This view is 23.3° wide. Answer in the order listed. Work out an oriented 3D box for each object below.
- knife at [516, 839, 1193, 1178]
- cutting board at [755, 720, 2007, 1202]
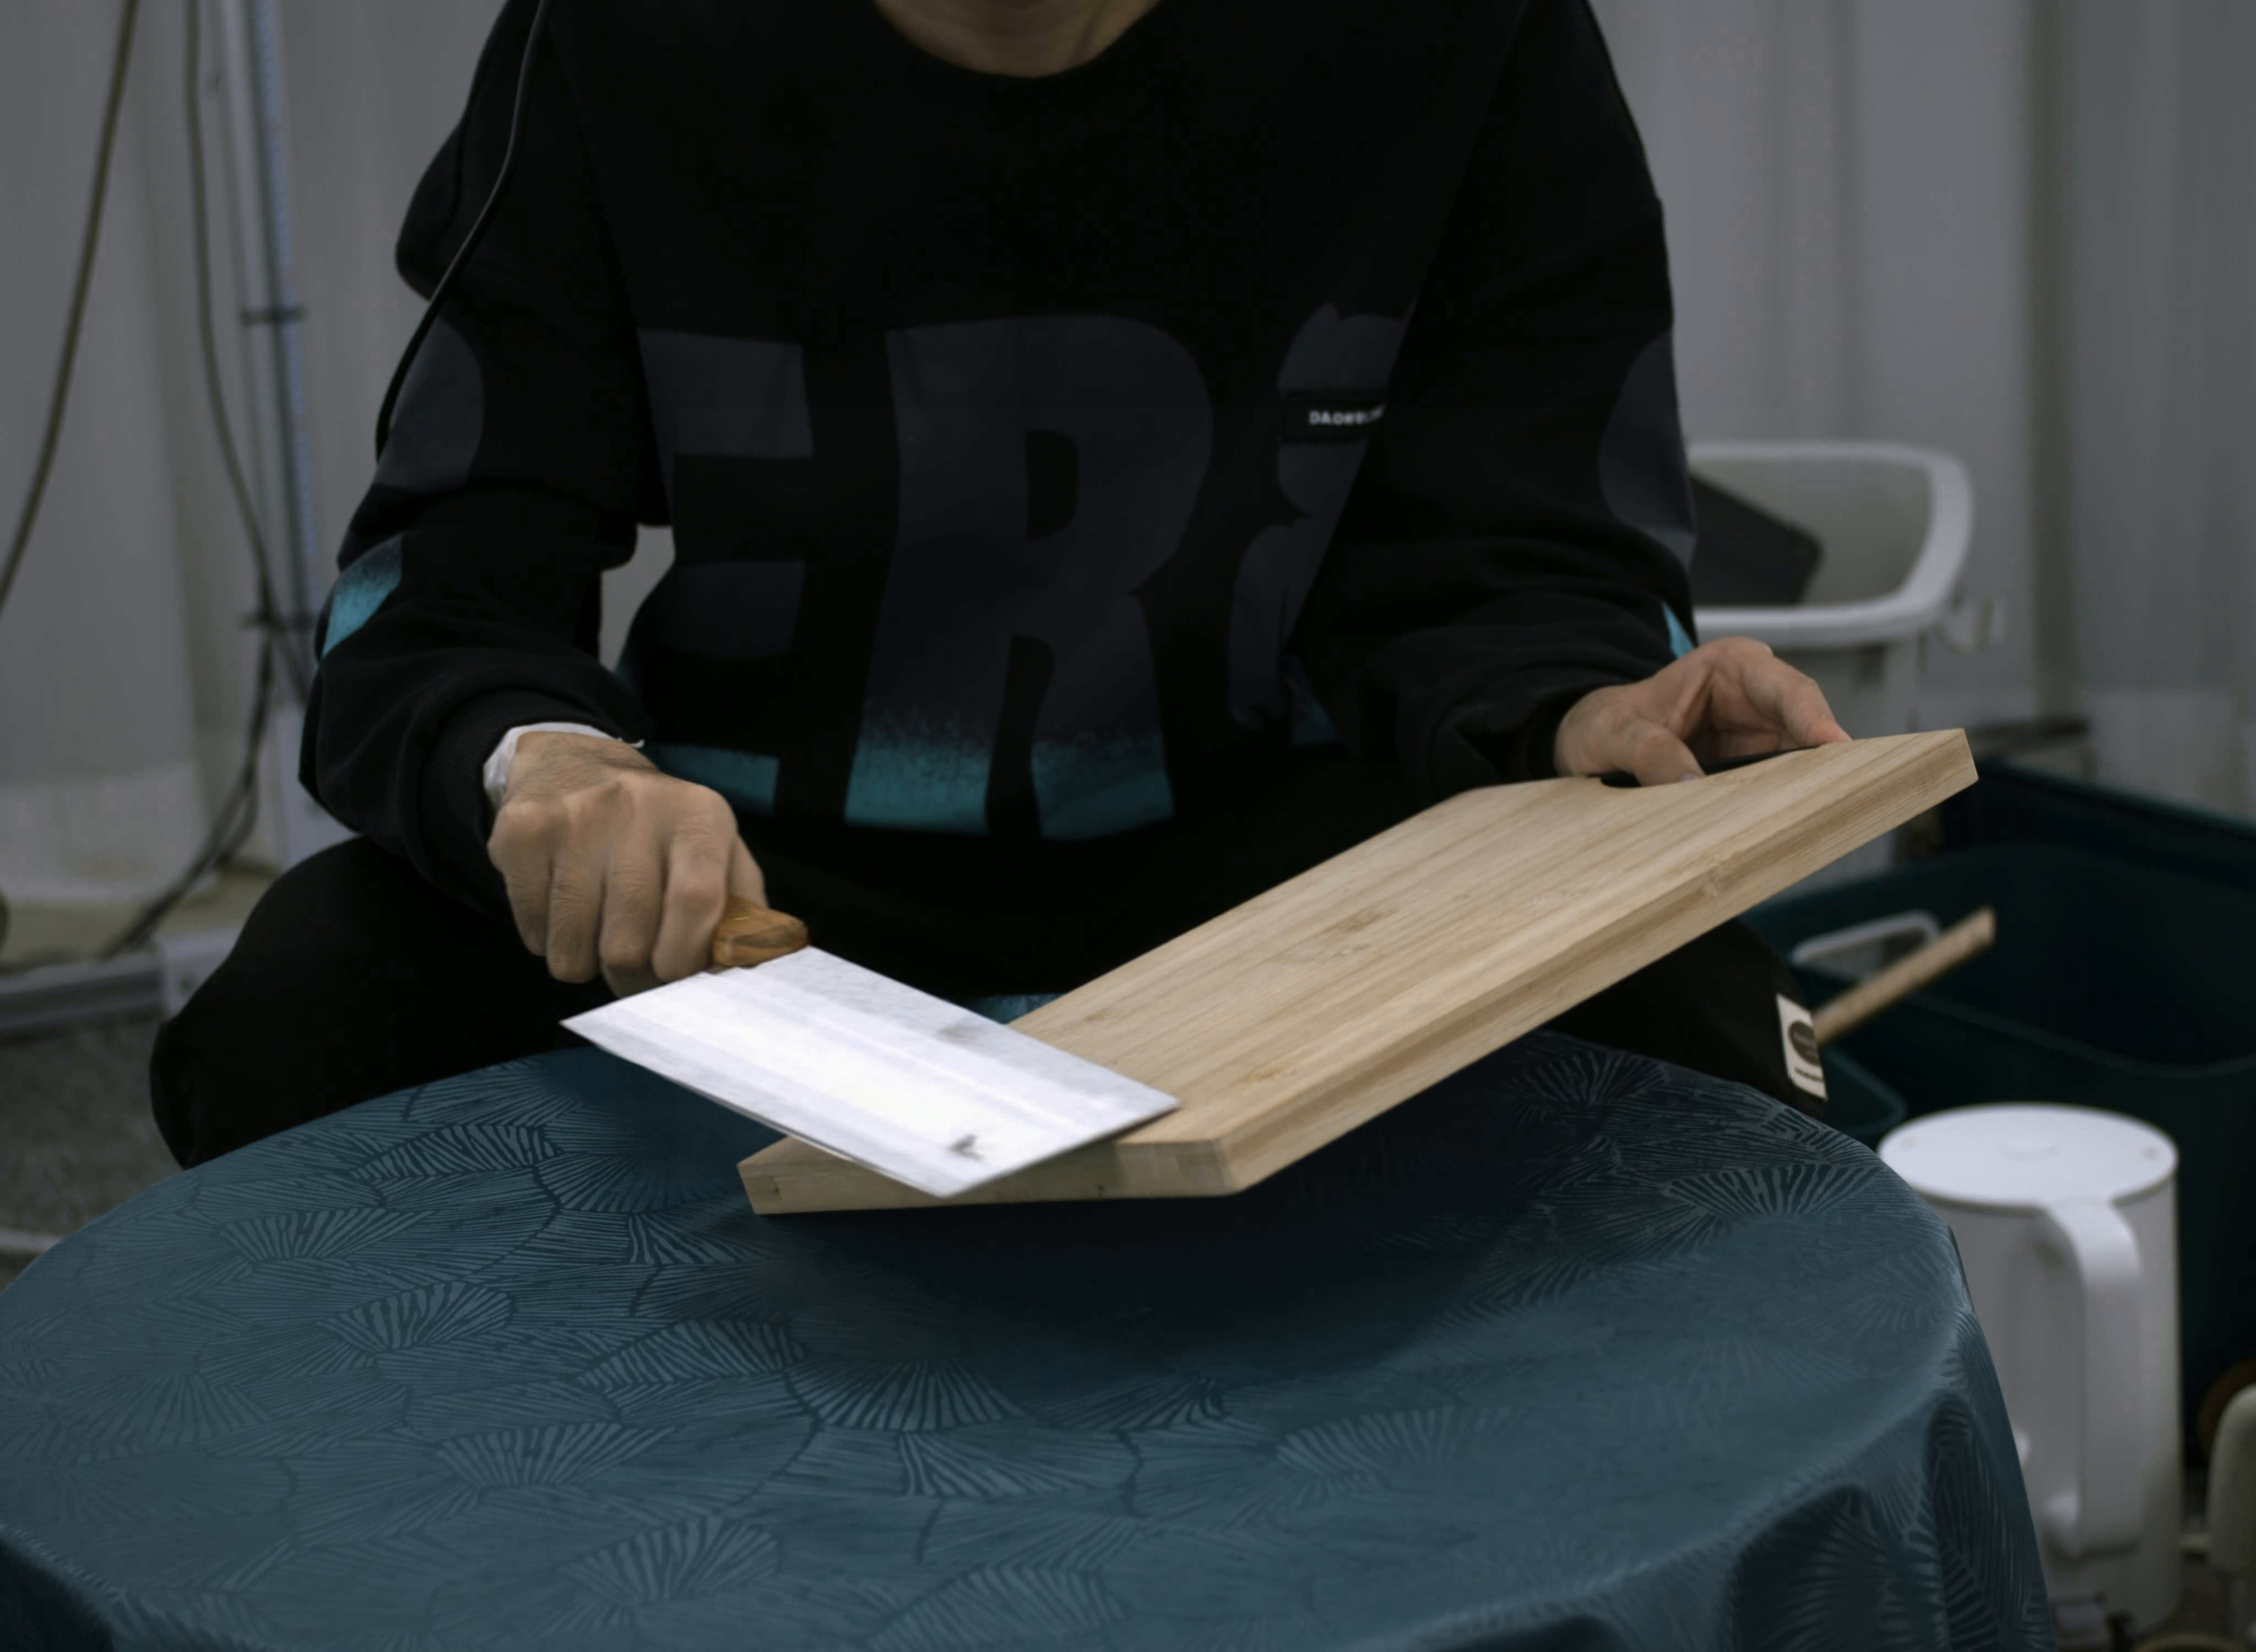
[{"bbox_3d":[-0.109,0.057,1.663,0.093,0.021,0.308,-21,26,-36],"label":"knife"},{"bbox_3d":[0.079,0.044,1.724,0.349,0.023,0.251,-27,12,-38],"label":"cutting board"}]
